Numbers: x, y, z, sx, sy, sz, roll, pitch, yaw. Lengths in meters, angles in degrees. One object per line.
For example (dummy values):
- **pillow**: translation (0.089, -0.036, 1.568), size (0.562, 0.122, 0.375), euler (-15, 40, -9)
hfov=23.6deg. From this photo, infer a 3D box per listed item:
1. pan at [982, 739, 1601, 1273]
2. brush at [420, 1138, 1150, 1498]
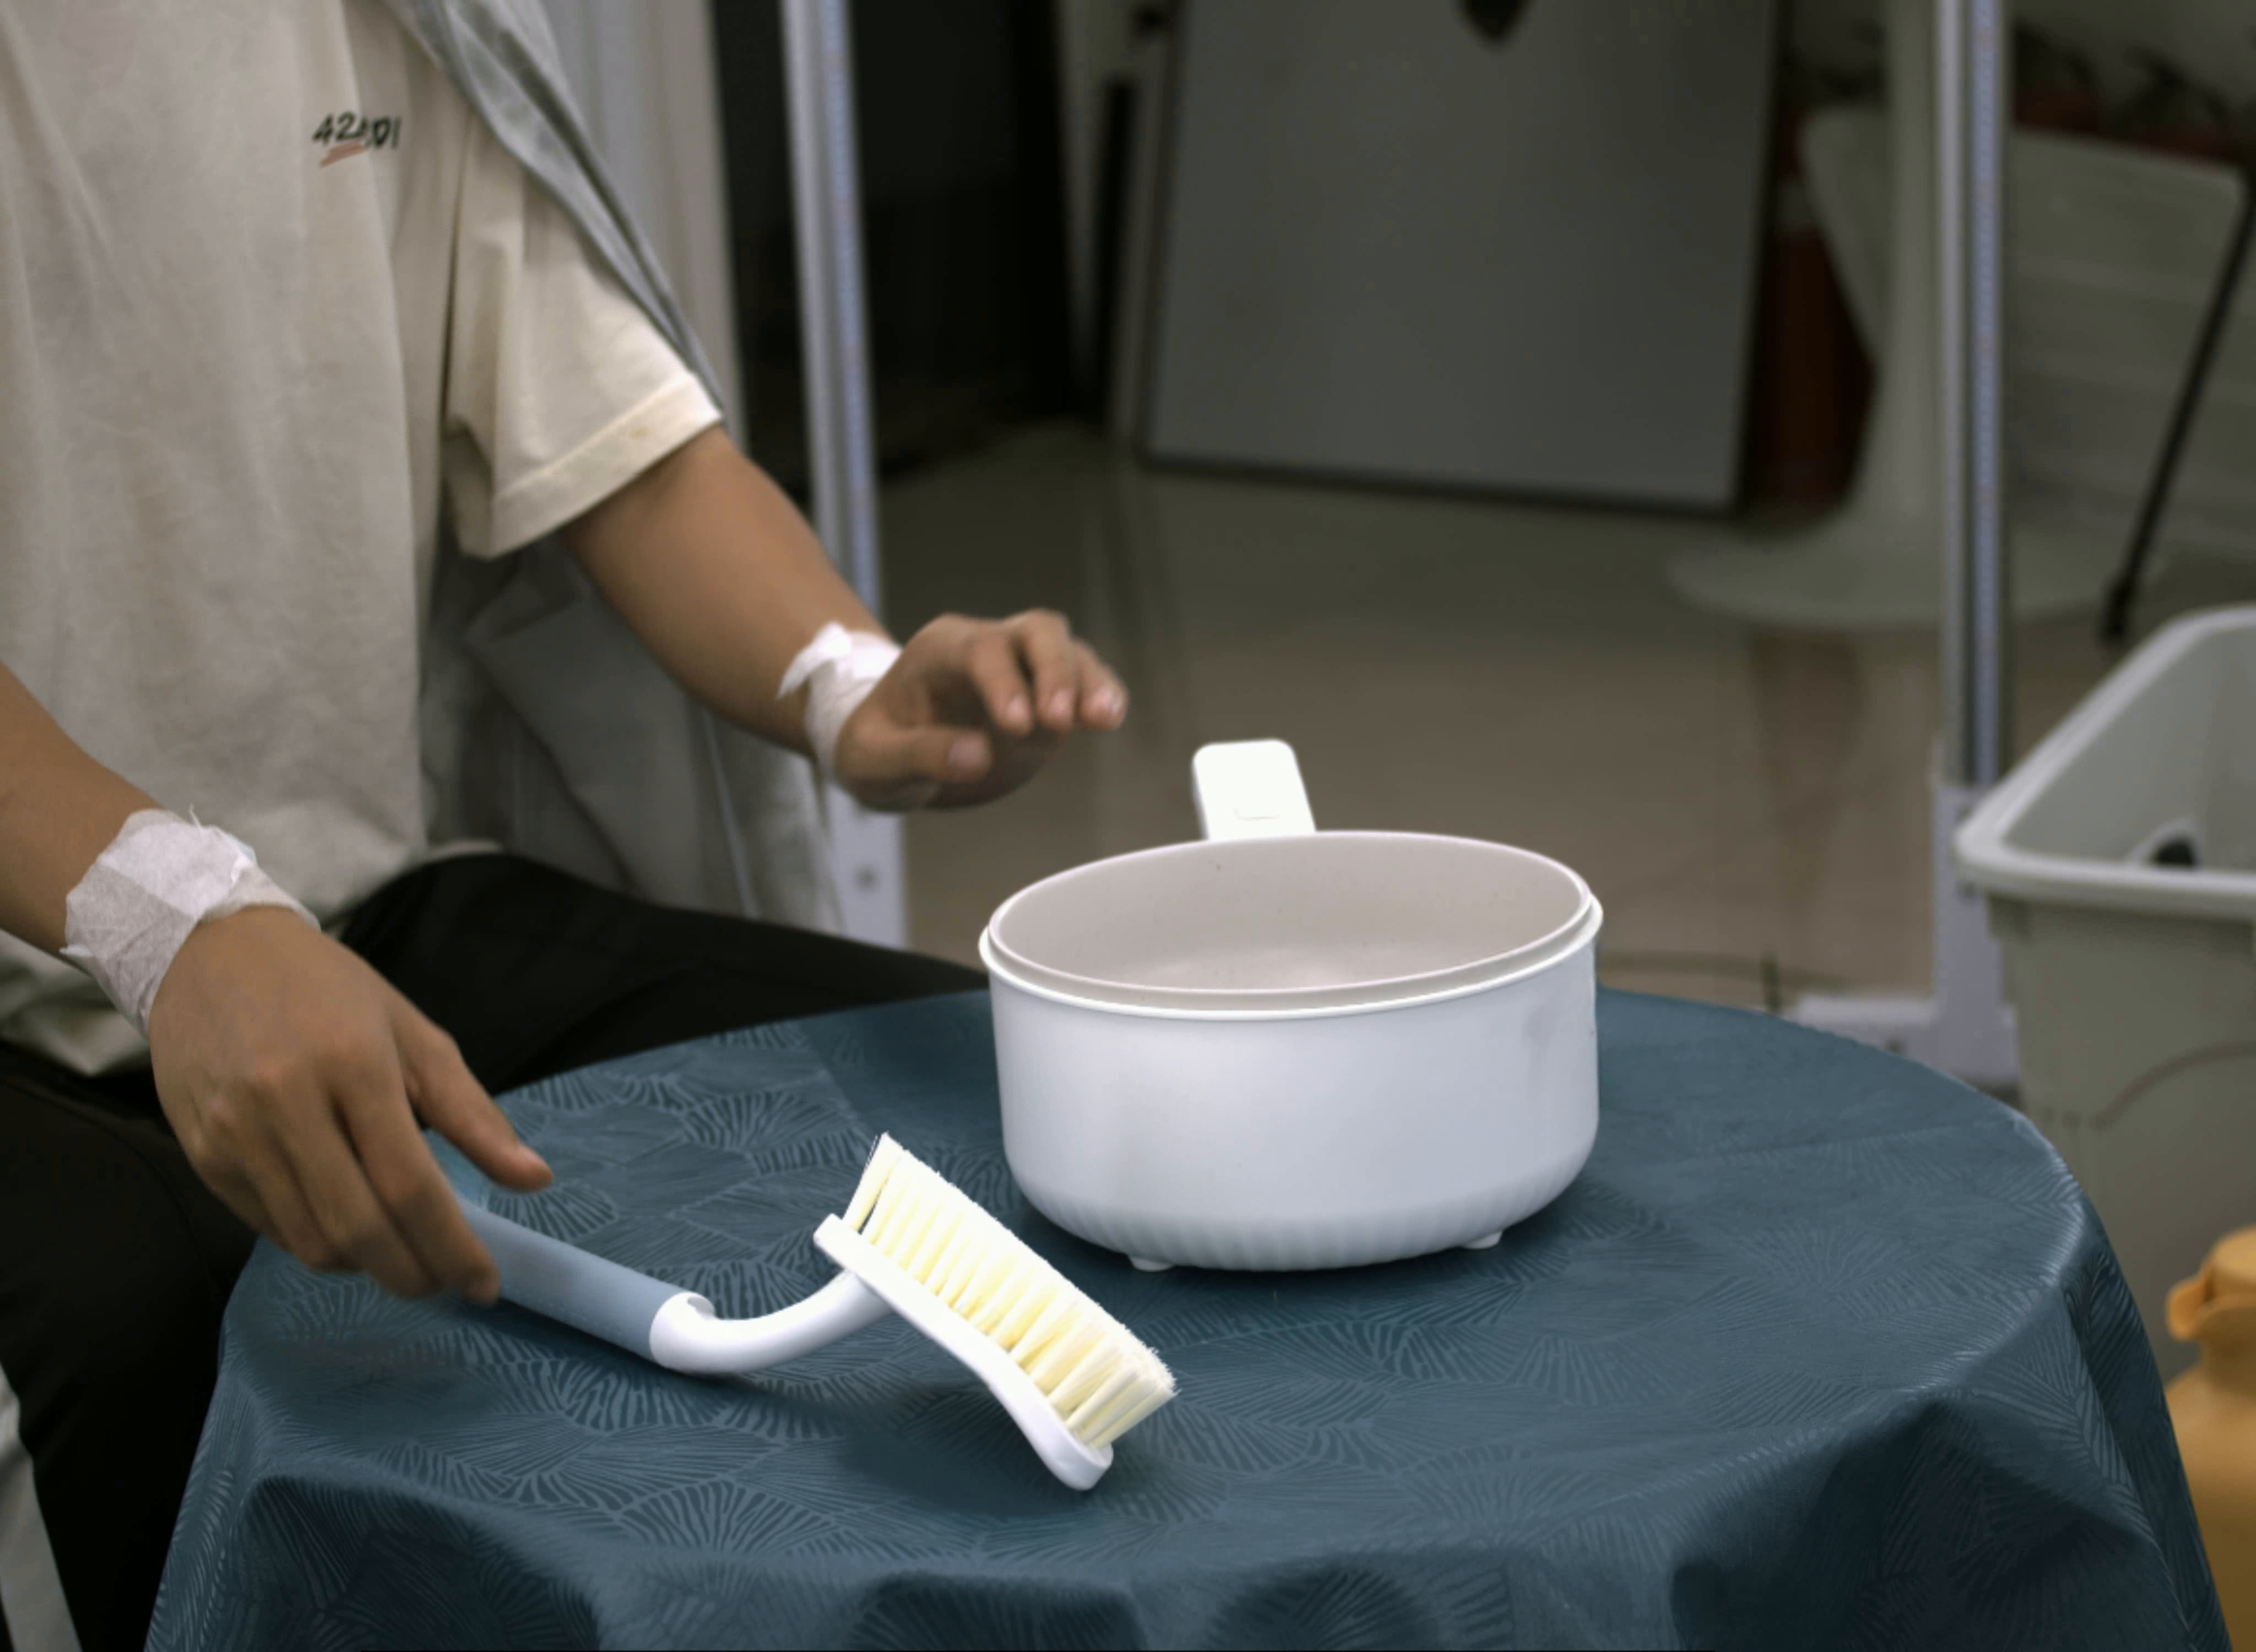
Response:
- **pan**: translation (0.052, 0.056, 1.810), size (0.198, 0.103, 0.355), euler (-4, 13, -1)
- **brush**: translation (-0.104, 0.123, 1.622), size (0.083, 0.084, 0.329), euler (-22, 23, -35)
